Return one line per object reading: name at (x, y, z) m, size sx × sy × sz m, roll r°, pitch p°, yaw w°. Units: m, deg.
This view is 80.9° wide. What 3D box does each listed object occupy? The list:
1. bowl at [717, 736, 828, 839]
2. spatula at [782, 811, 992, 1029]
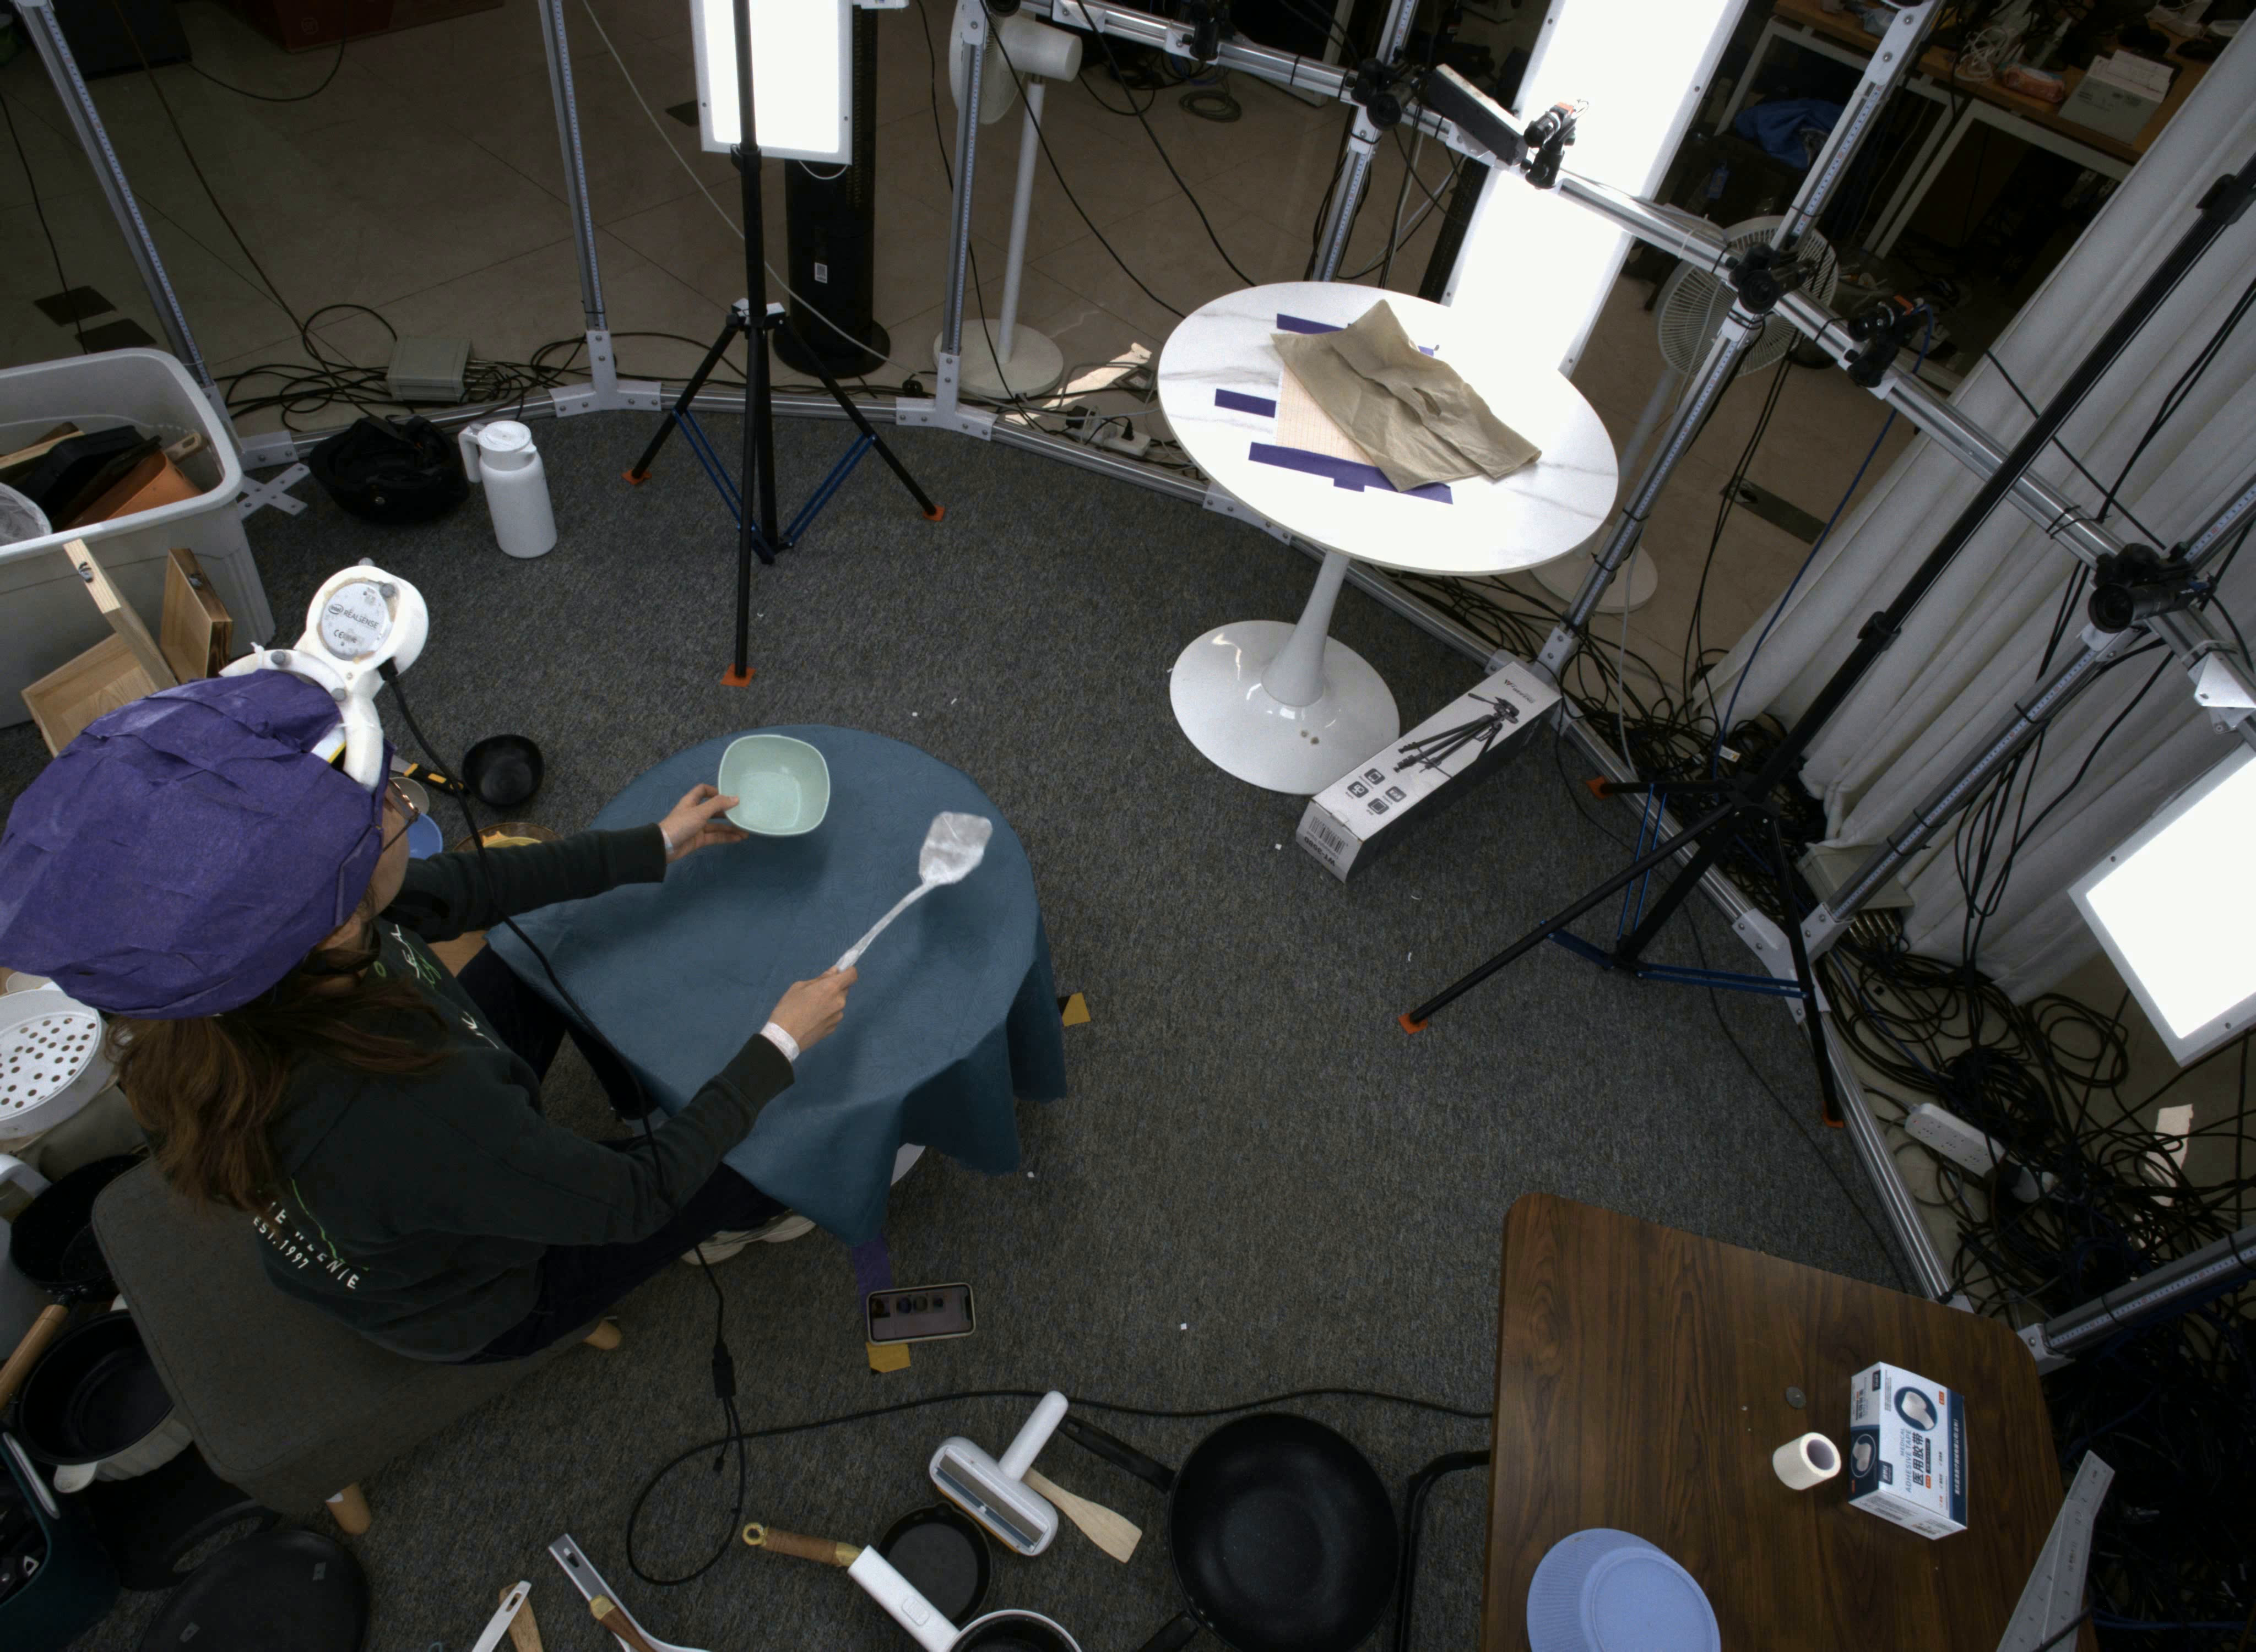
bowl at (-0.457, -0.040, 1.652) m, size 0.153 × 0.059 × 0.149 m, roll 13°, pitch 60°, yaw -21°
spatula at (-0.294, 0.107, 1.568) m, size 0.095 × 0.046 × 0.364 m, roll 14°, pitch 45°, yaw 32°
